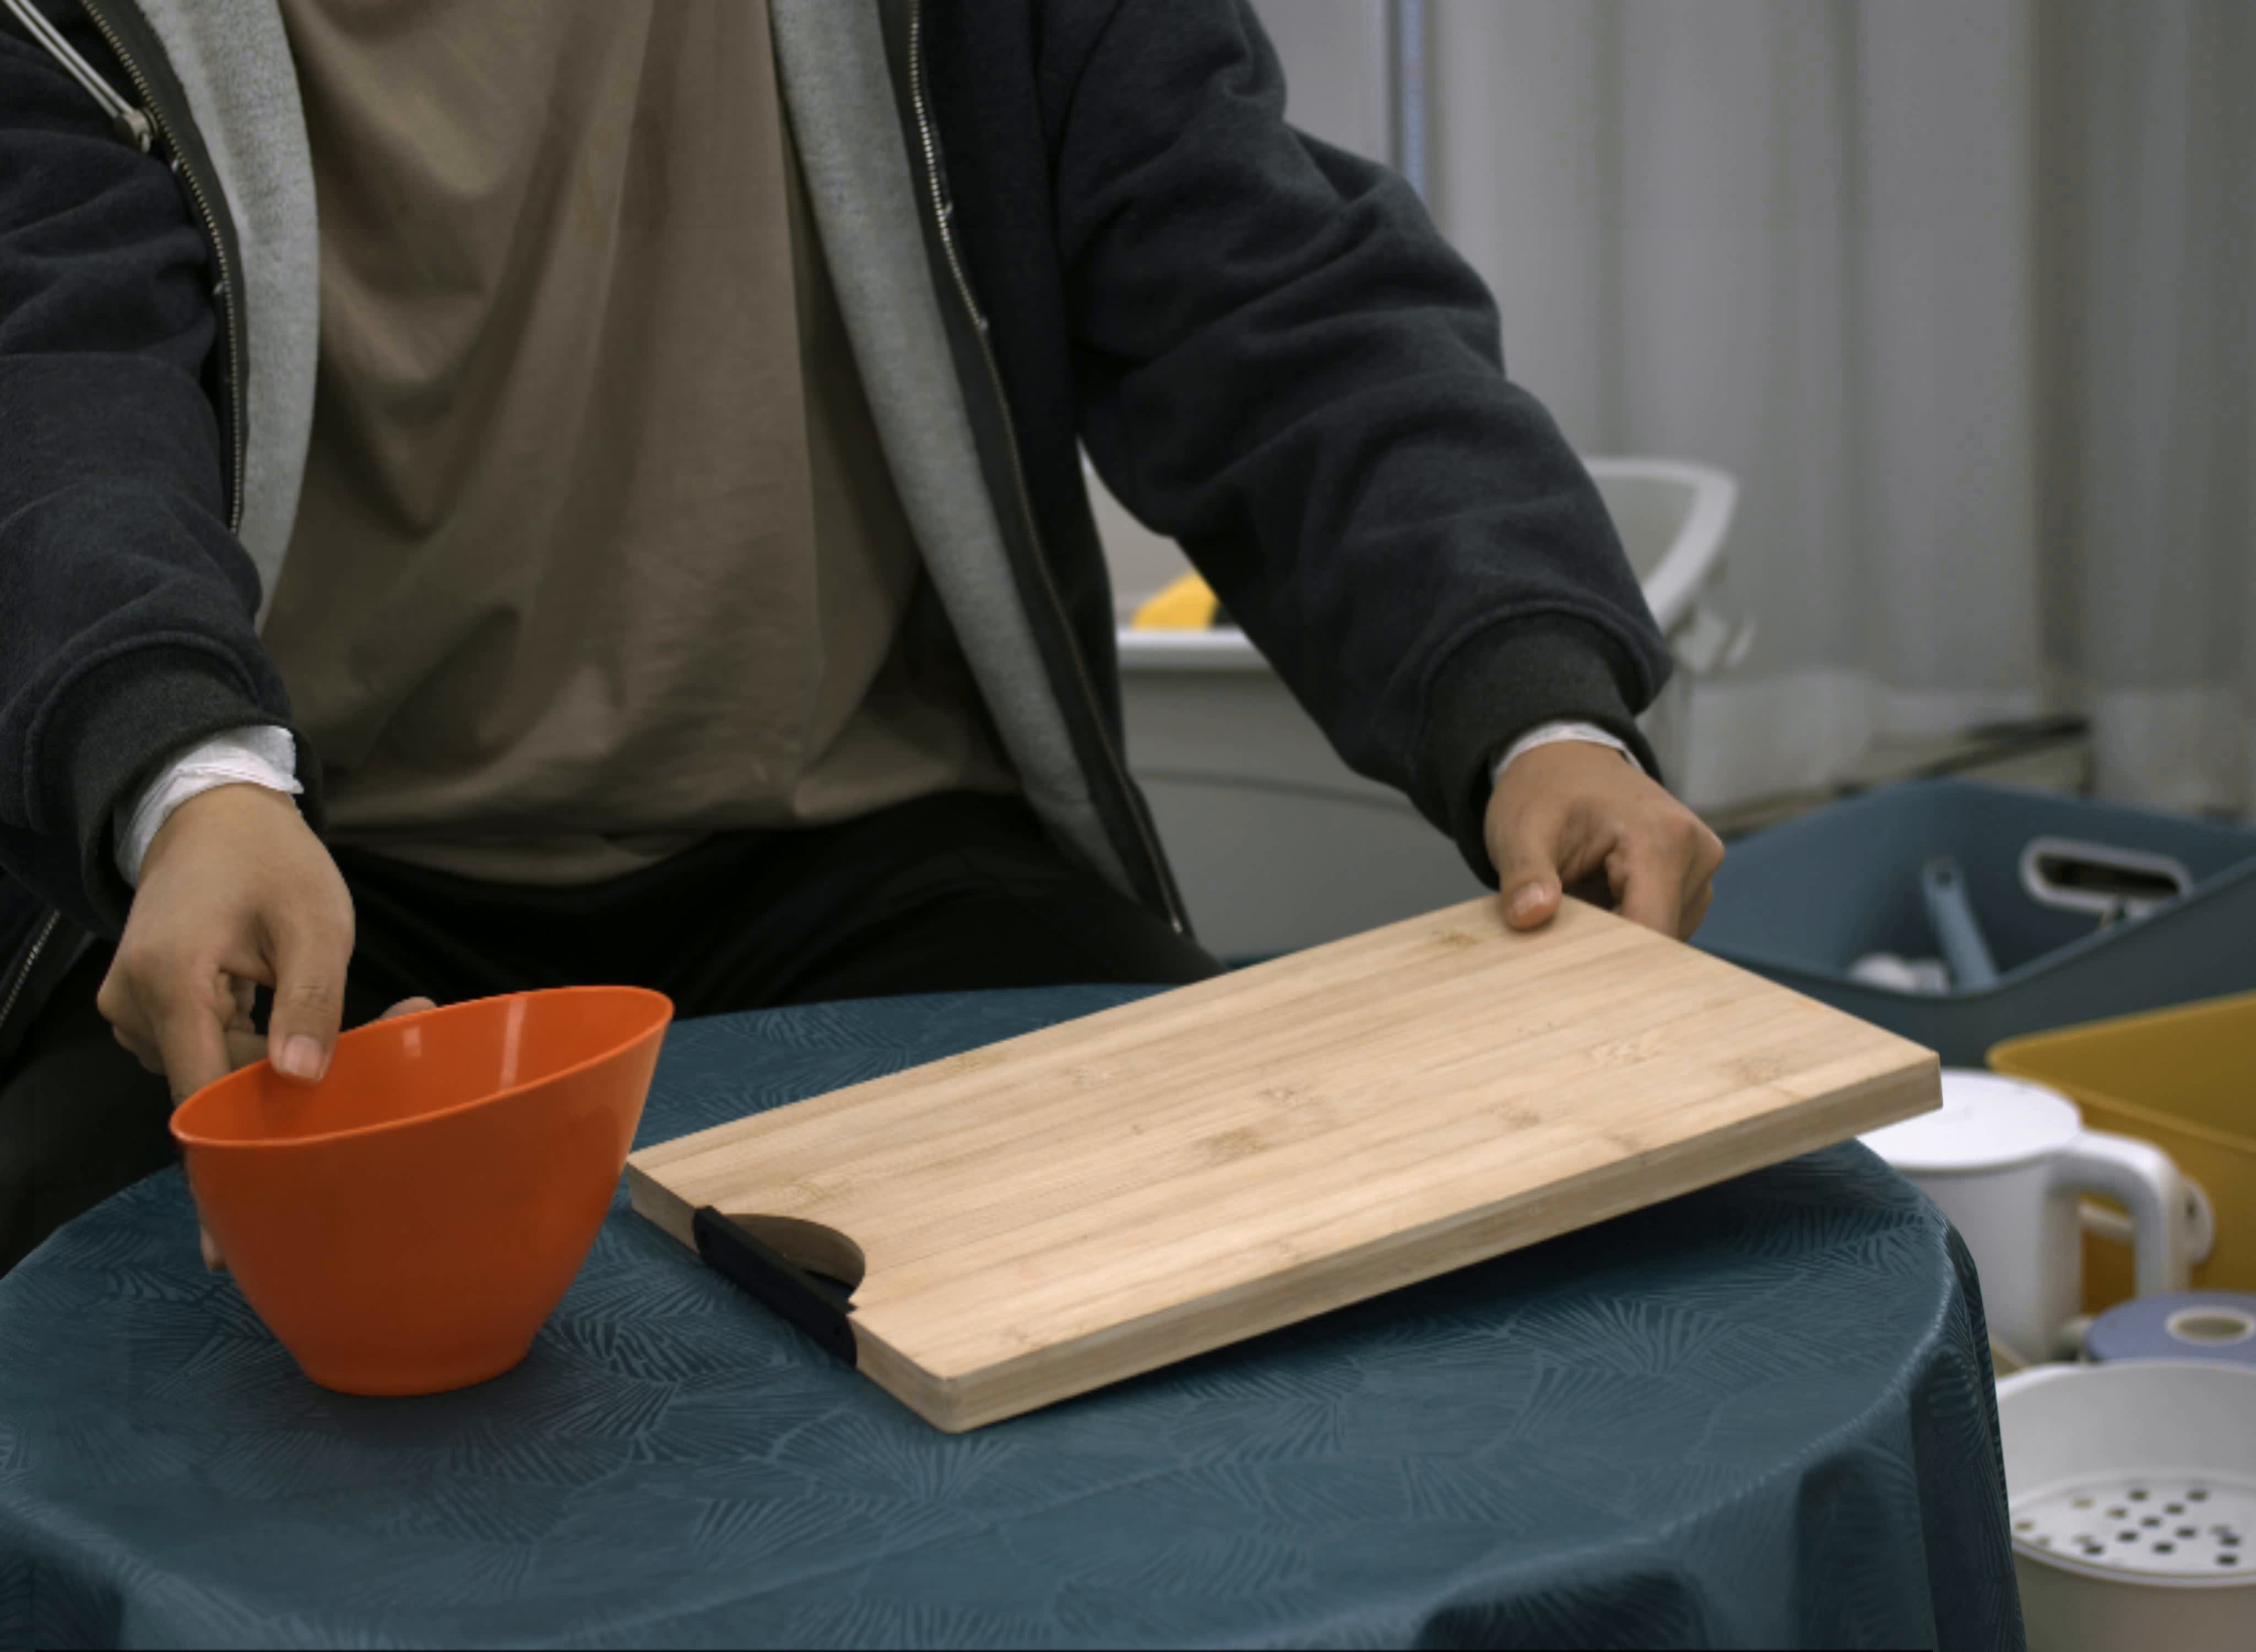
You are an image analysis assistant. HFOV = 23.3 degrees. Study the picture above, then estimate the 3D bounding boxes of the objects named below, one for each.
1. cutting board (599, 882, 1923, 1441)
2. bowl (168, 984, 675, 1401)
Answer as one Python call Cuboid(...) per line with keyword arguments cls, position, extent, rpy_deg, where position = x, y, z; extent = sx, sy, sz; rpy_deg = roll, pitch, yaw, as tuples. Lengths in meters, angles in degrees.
Cuboid(cls="cutting board", position=(0.038, 0.096, 1.686), extent=(0.347, 0.023, 0.252), rpy_deg=(-16, 18, -24))
Cuboid(cls="bowl", position=(-0.201, 0.108, 1.585), extent=(0.147, 0.104, 0.149), rpy_deg=(-3, 16, 1))
